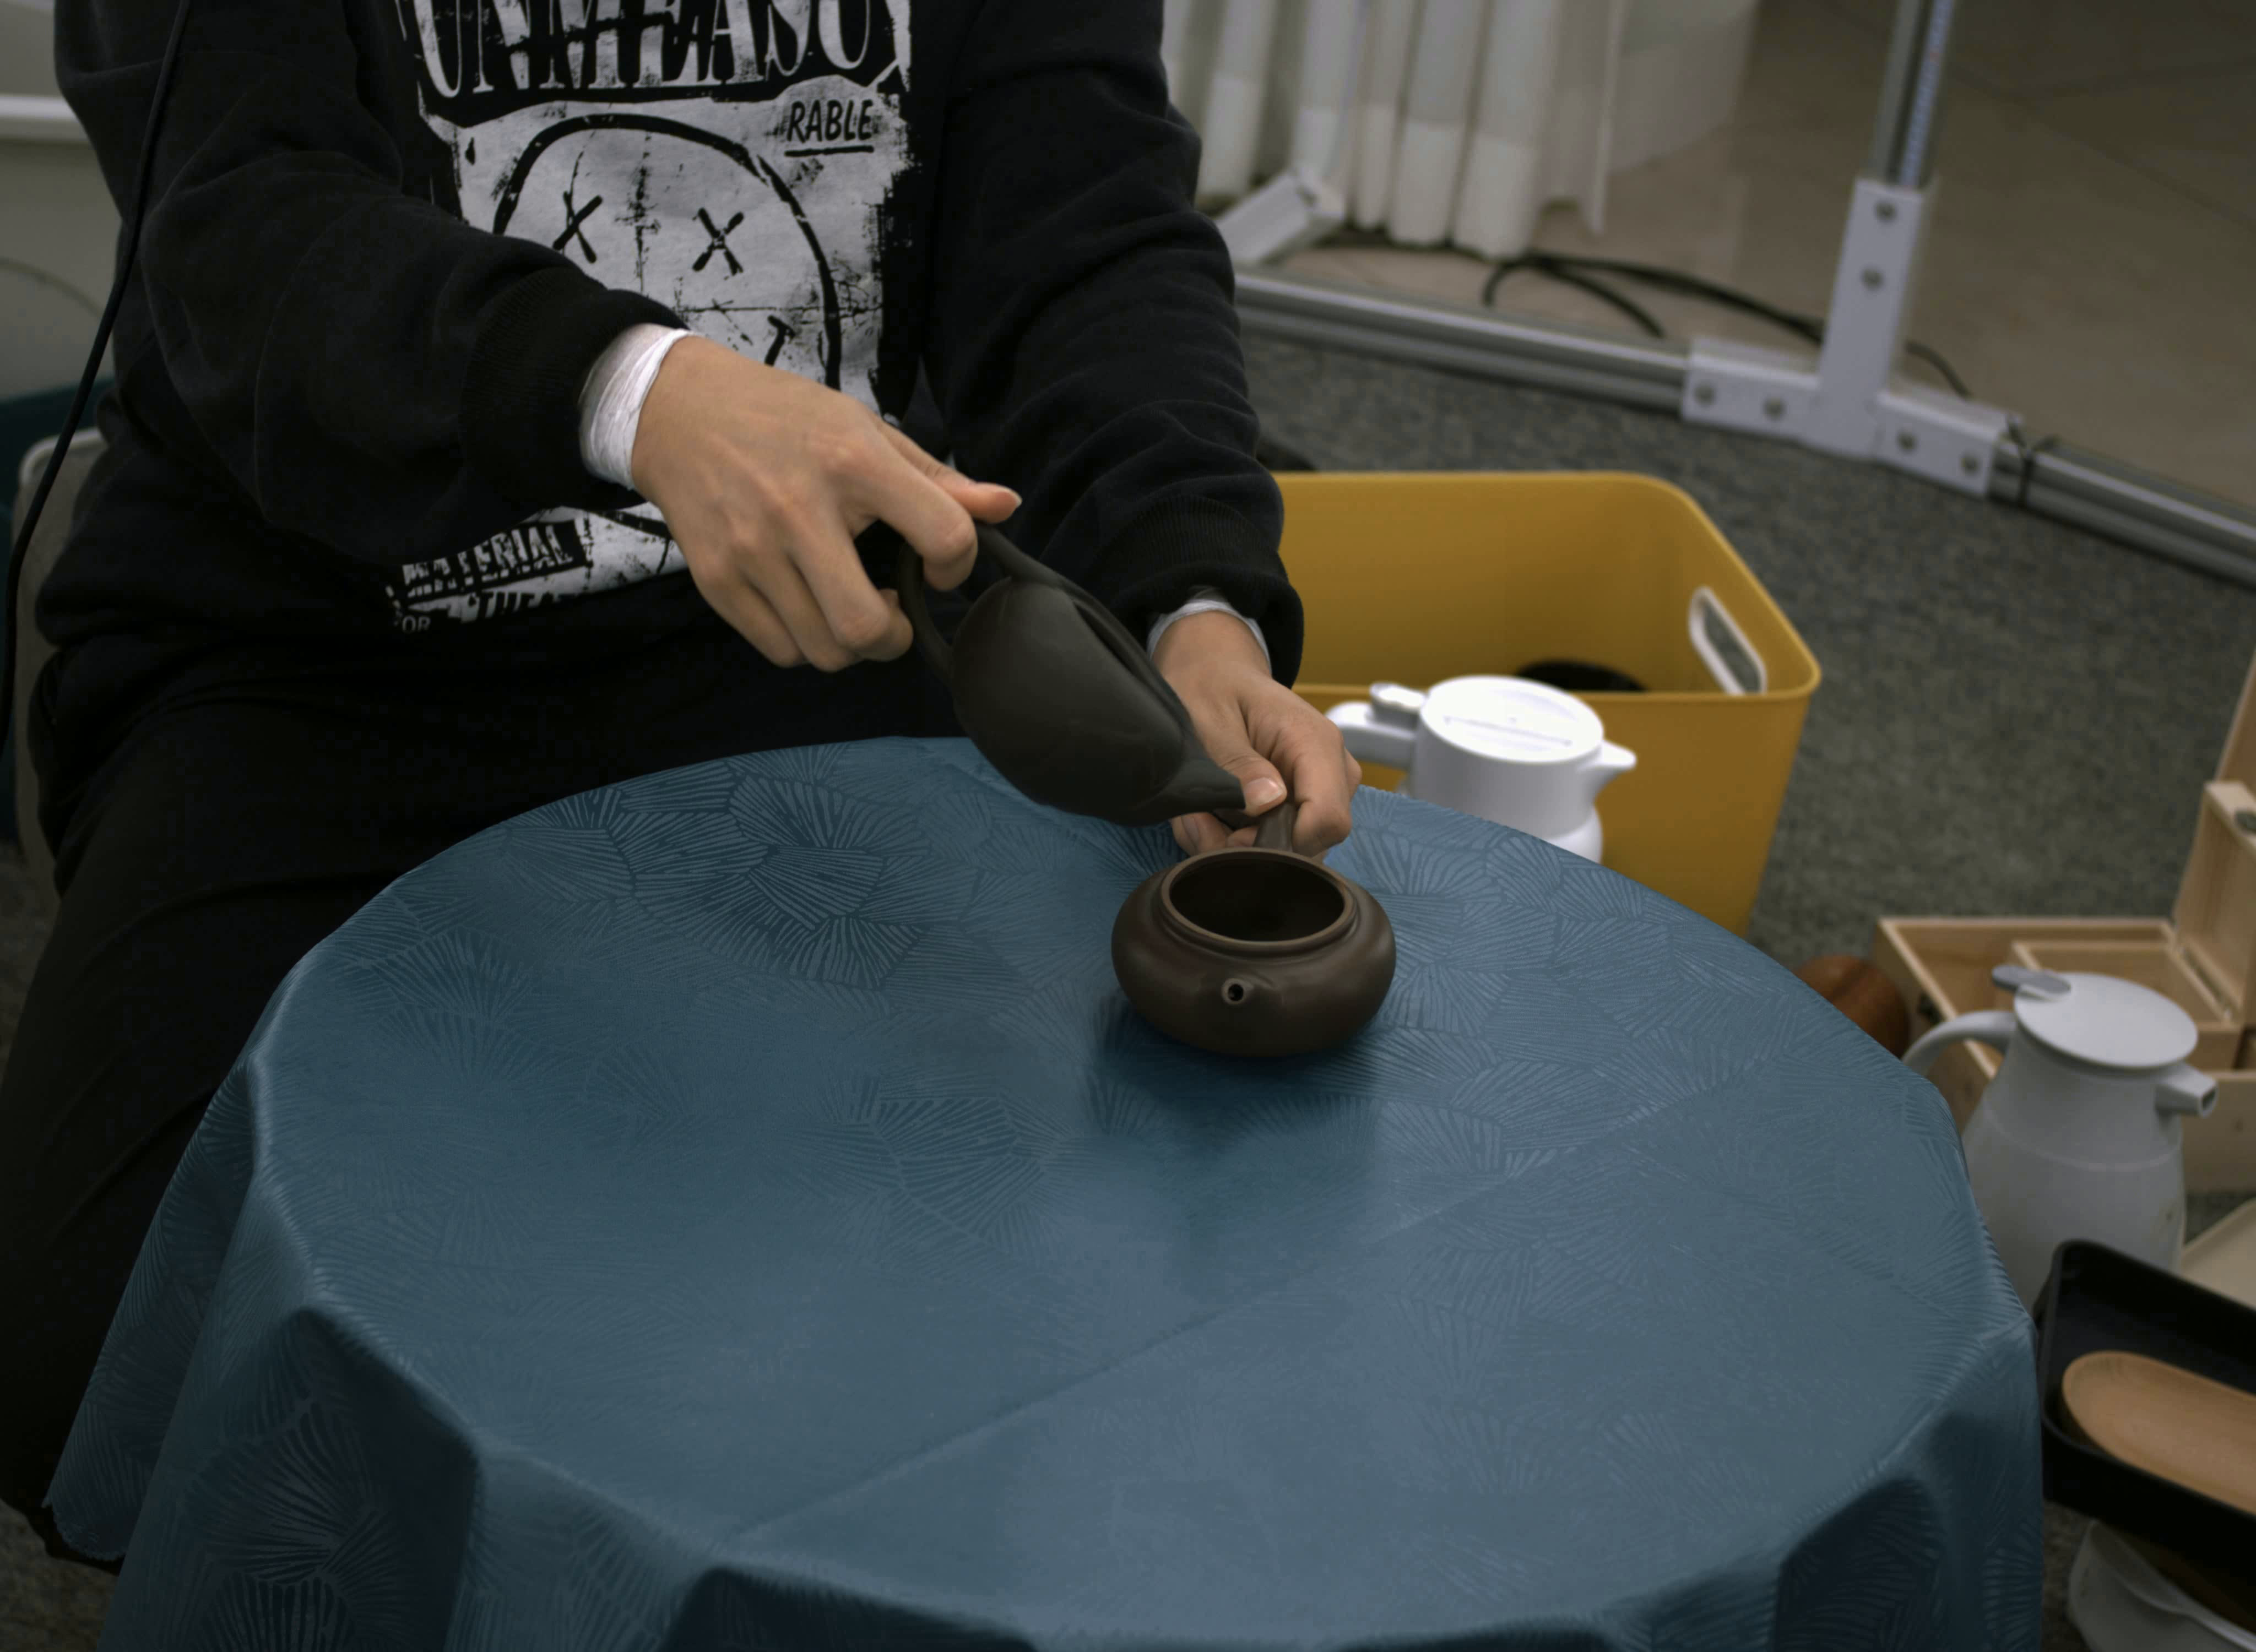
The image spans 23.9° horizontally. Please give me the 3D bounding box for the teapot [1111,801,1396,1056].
[{"bbox_3d":[0.045,0.041,1.913,0.102,0.053,0.154,5,30,0],"label":"teapot"}]

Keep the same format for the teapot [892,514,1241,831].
[{"bbox_3d":[-0.025,-0.047,1.854,0.153,0.064,0.093,46,8,-15],"label":"teapot"}]
